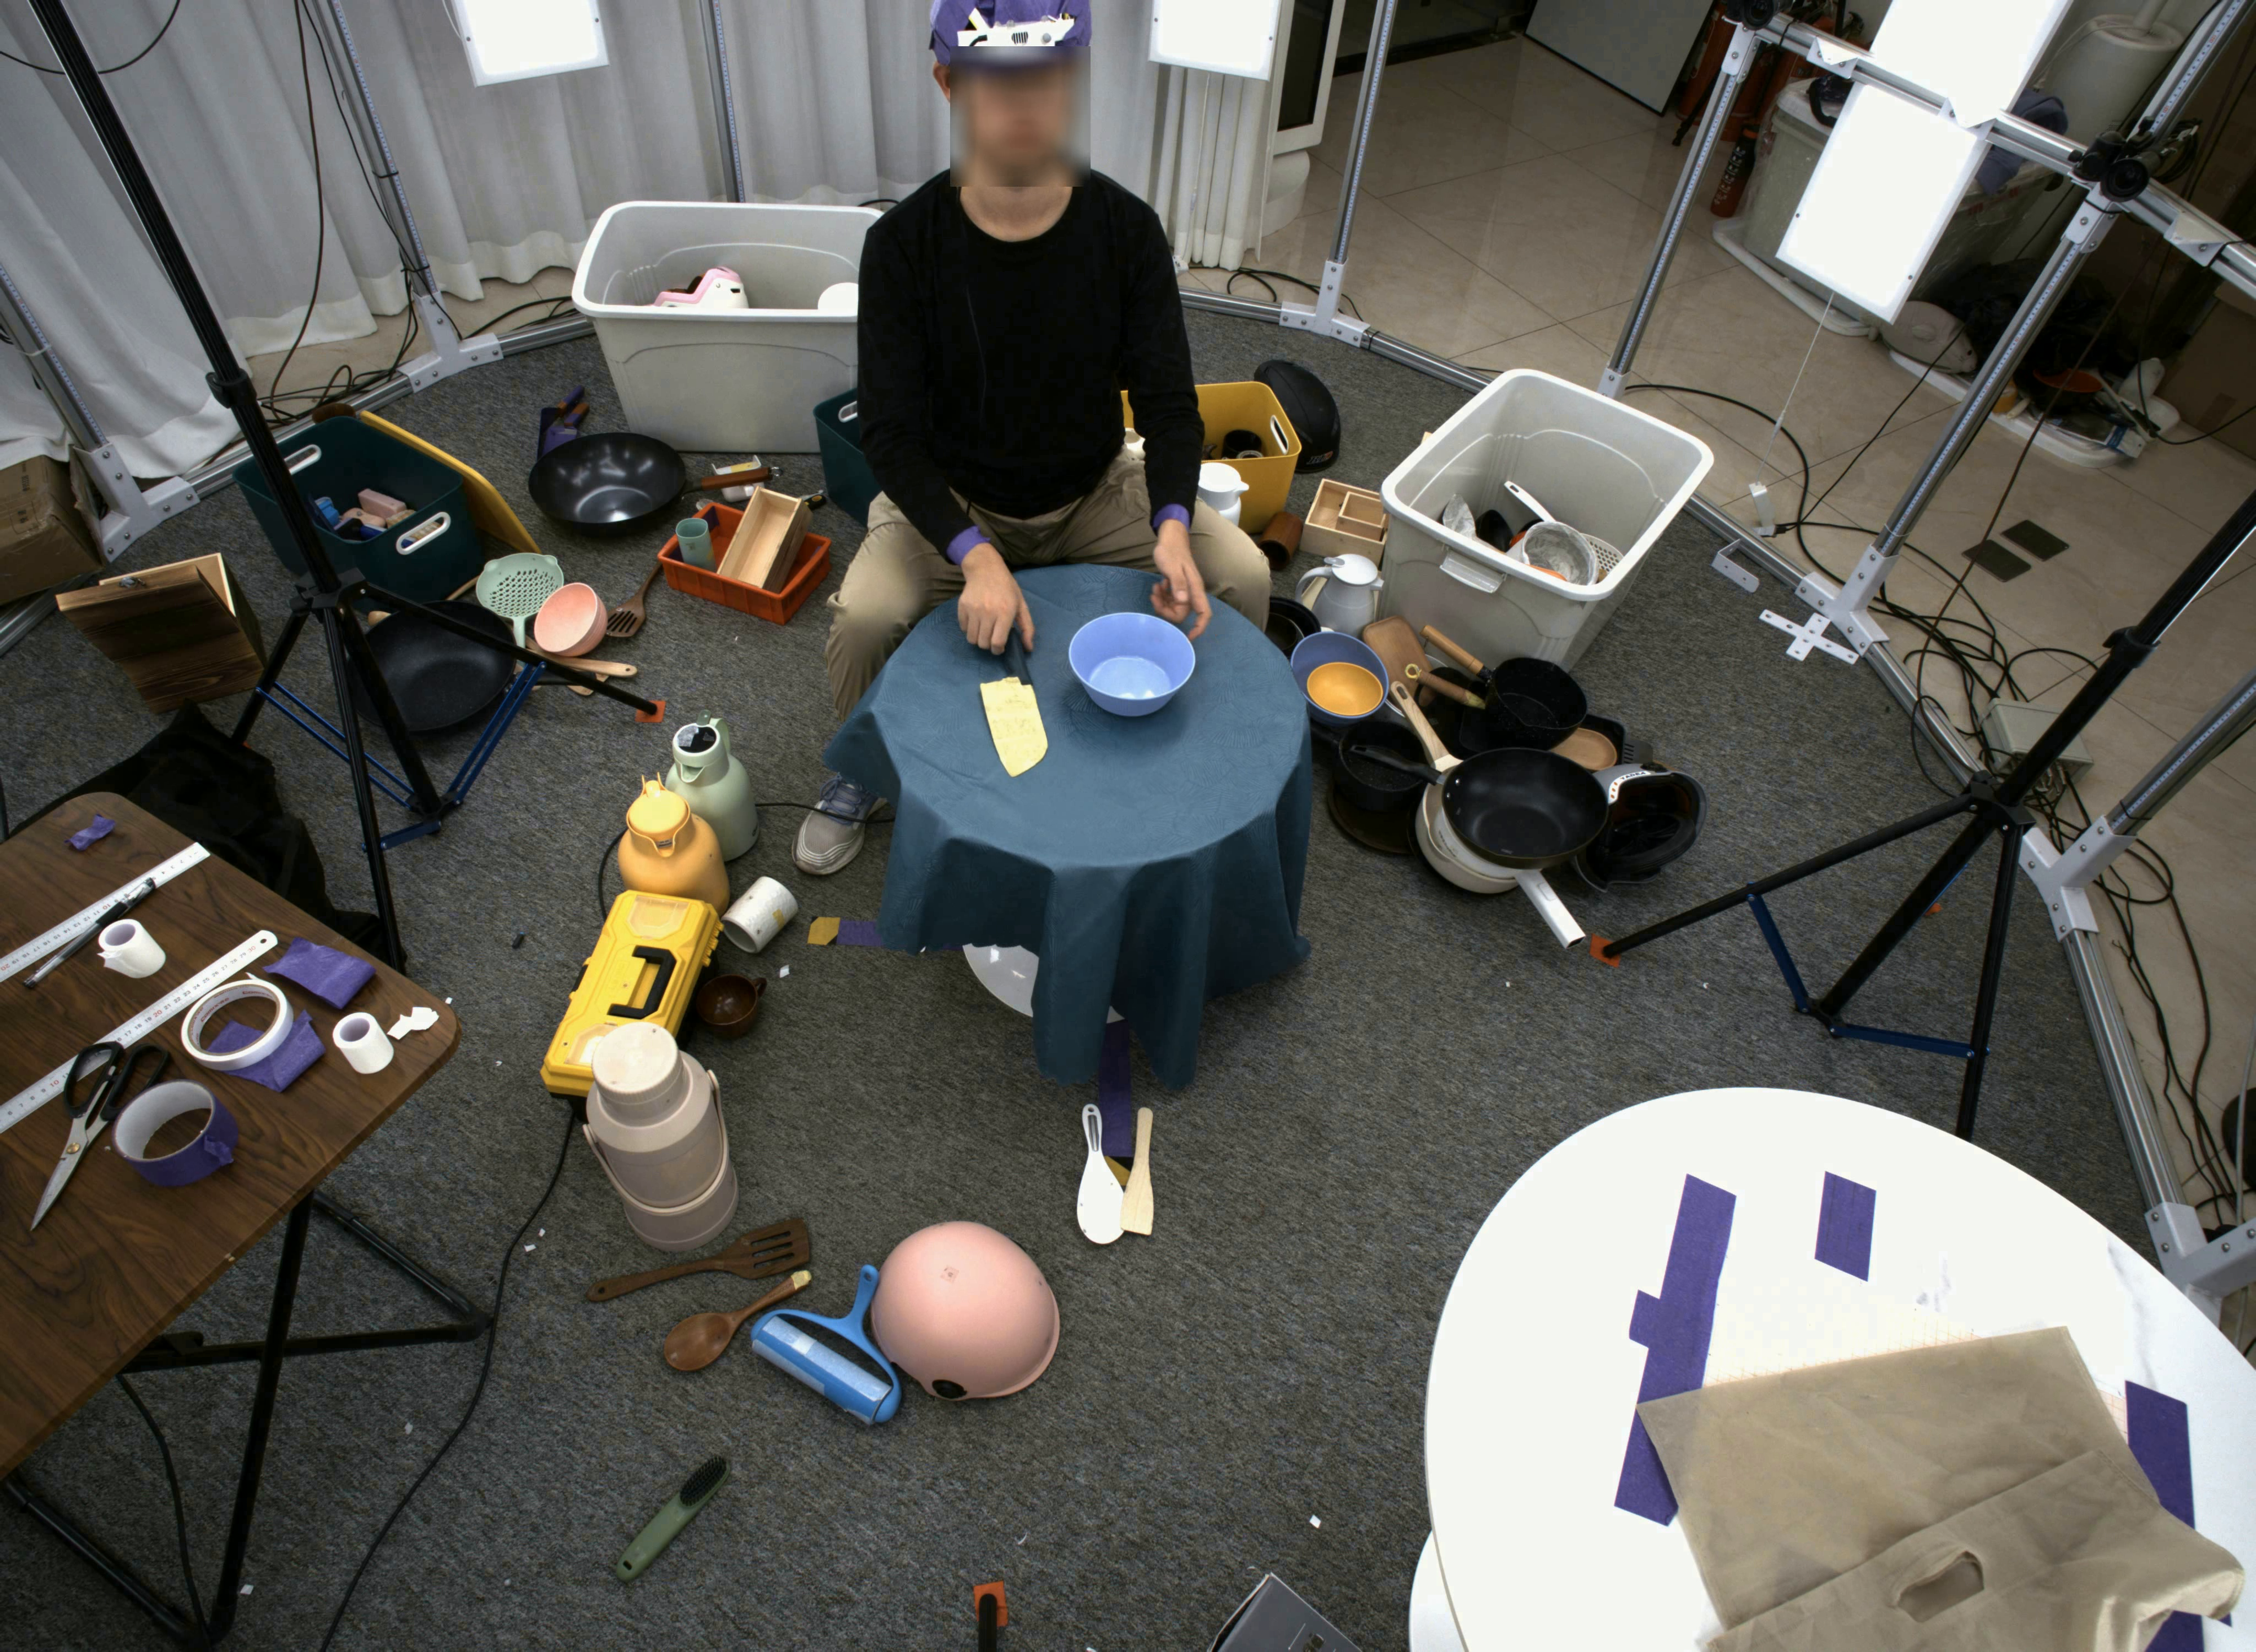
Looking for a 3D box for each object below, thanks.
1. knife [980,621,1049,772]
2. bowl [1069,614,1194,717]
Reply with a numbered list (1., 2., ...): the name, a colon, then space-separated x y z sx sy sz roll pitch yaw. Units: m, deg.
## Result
1. knife: -0.166 -0.185 1.811 0.081 0.026 0.297 -5 51 -11
2. bowl: 0.003 -0.218 1.814 0.176 0.068 0.180 1 49 -2
